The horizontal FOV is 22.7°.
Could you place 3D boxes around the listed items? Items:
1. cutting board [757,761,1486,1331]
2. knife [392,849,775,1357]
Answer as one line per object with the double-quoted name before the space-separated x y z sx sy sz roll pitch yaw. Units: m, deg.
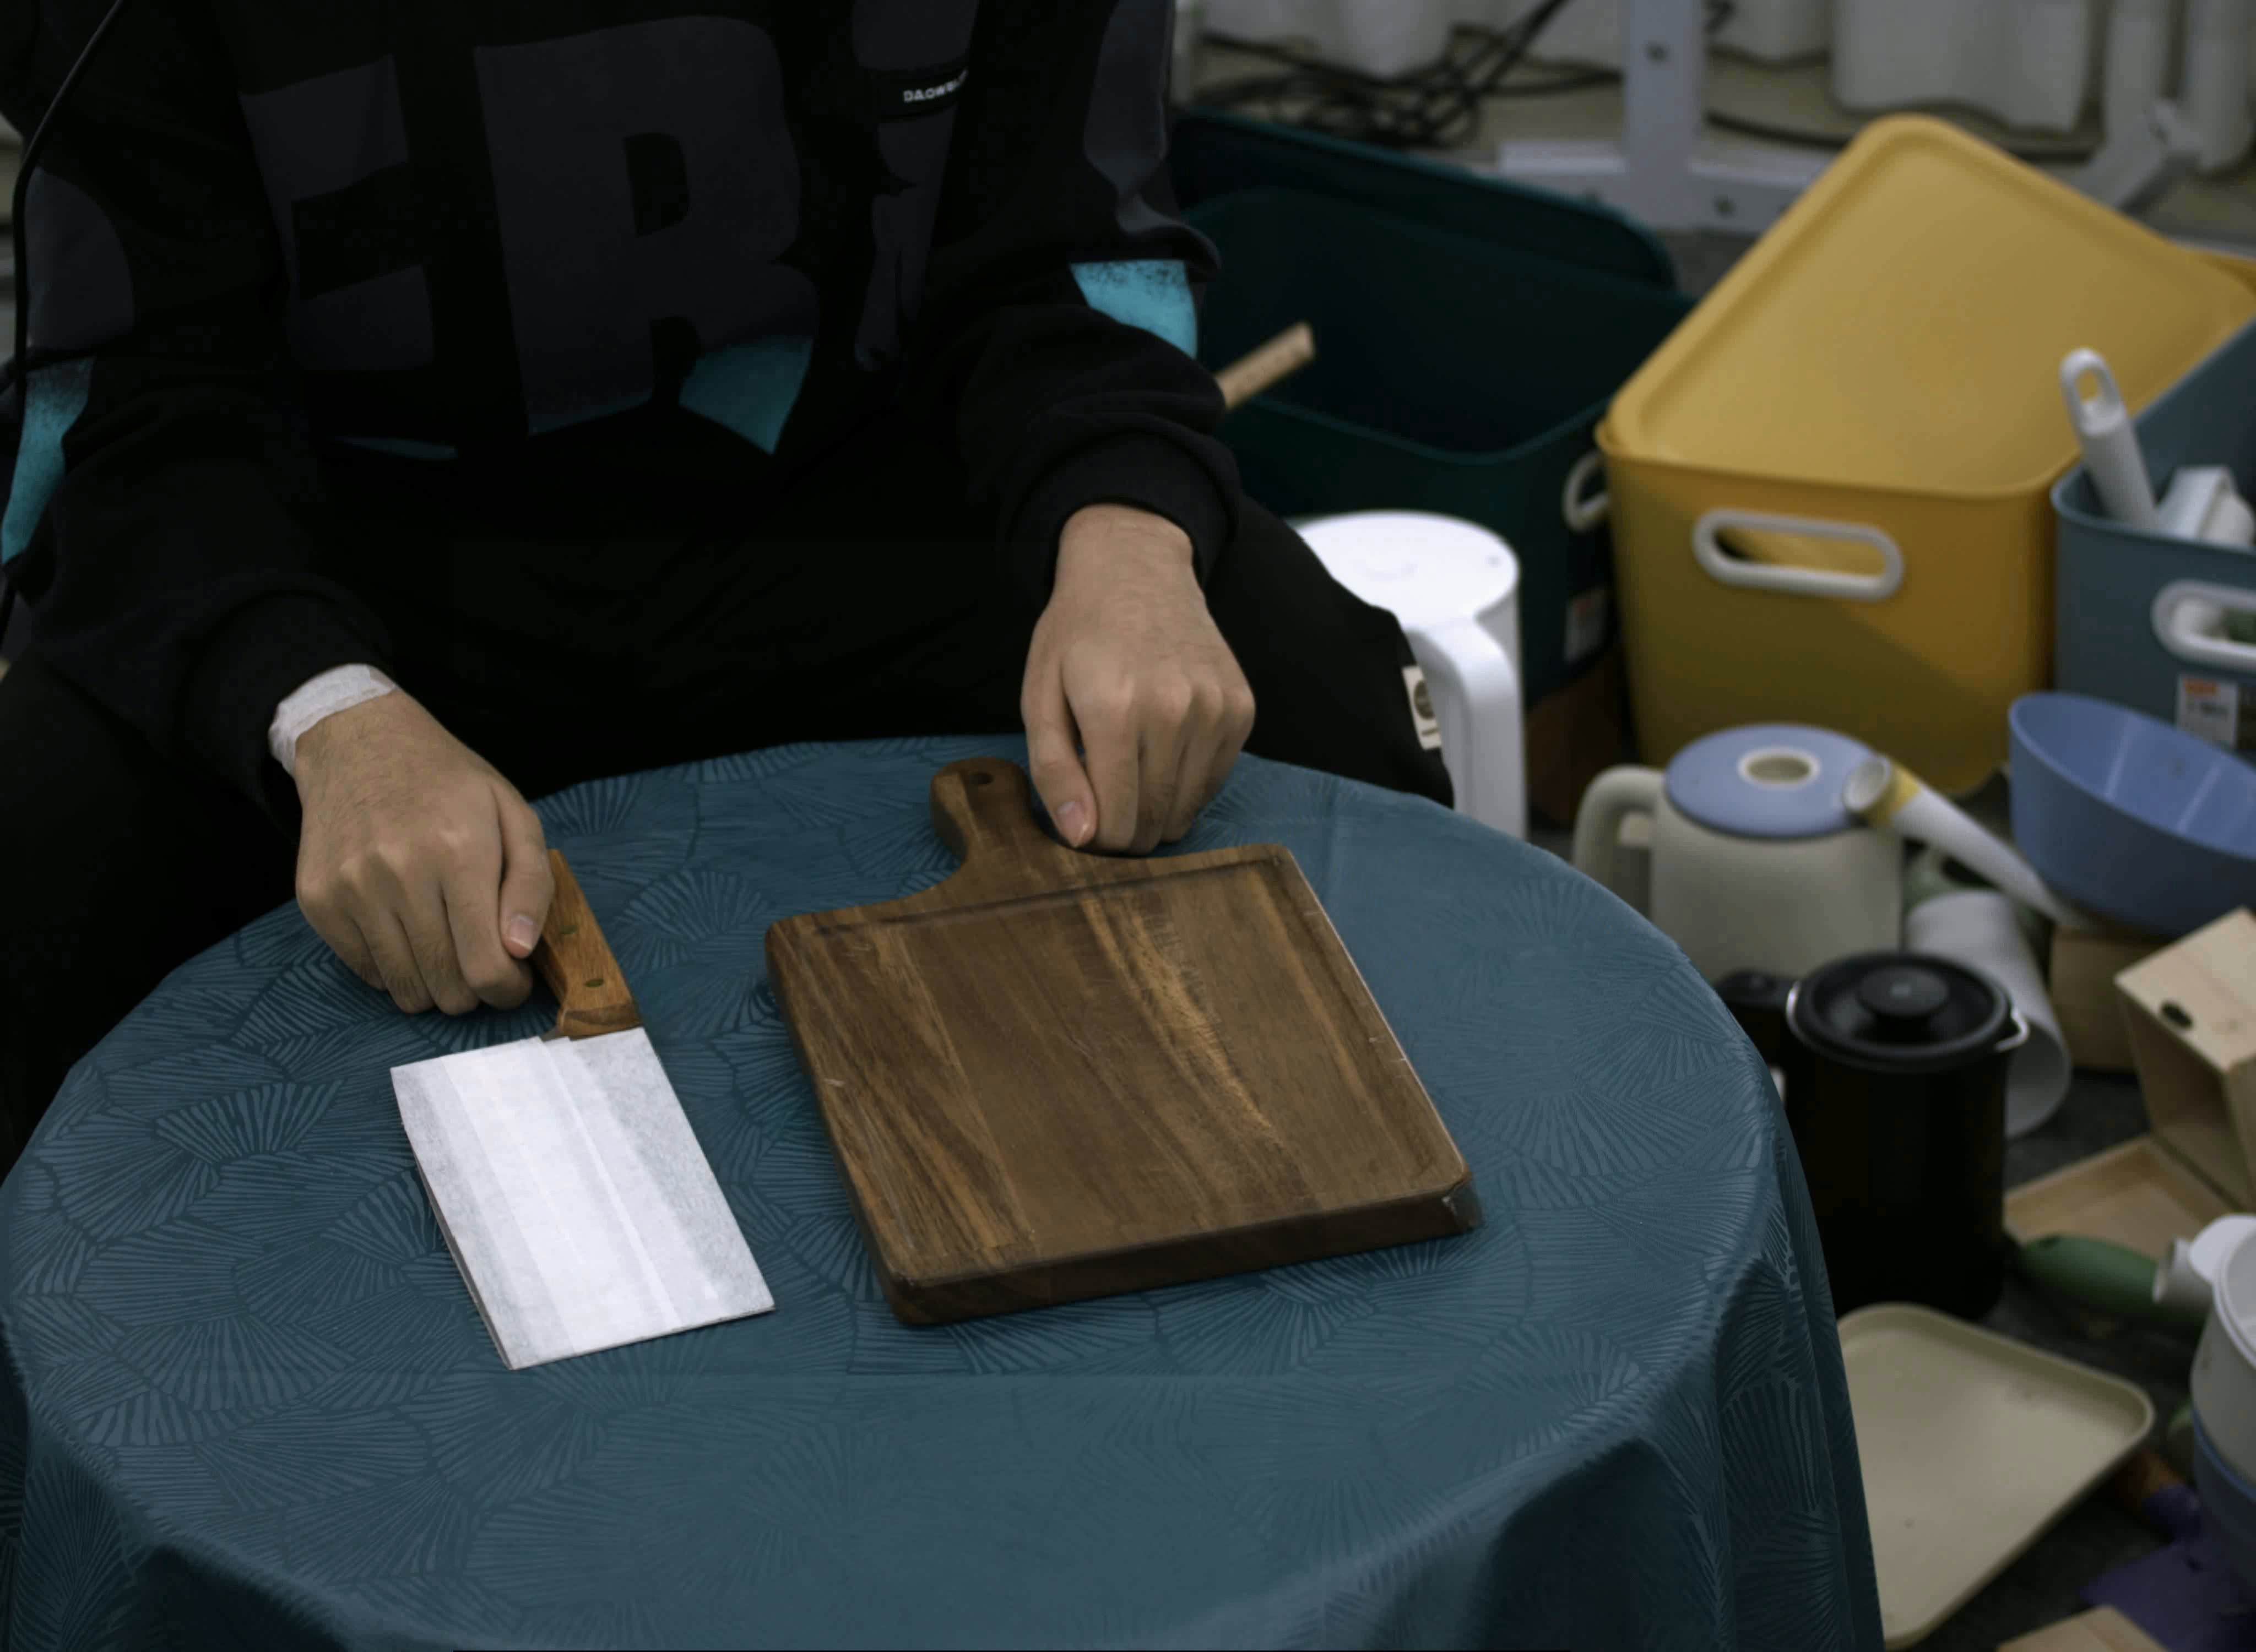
"cutting board" -0.019 0.062 1.957 0.201 0.023 0.356 -9 28 -11
"knife" -0.200 0.093 1.920 0.093 0.021 0.309 -12 31 -14
